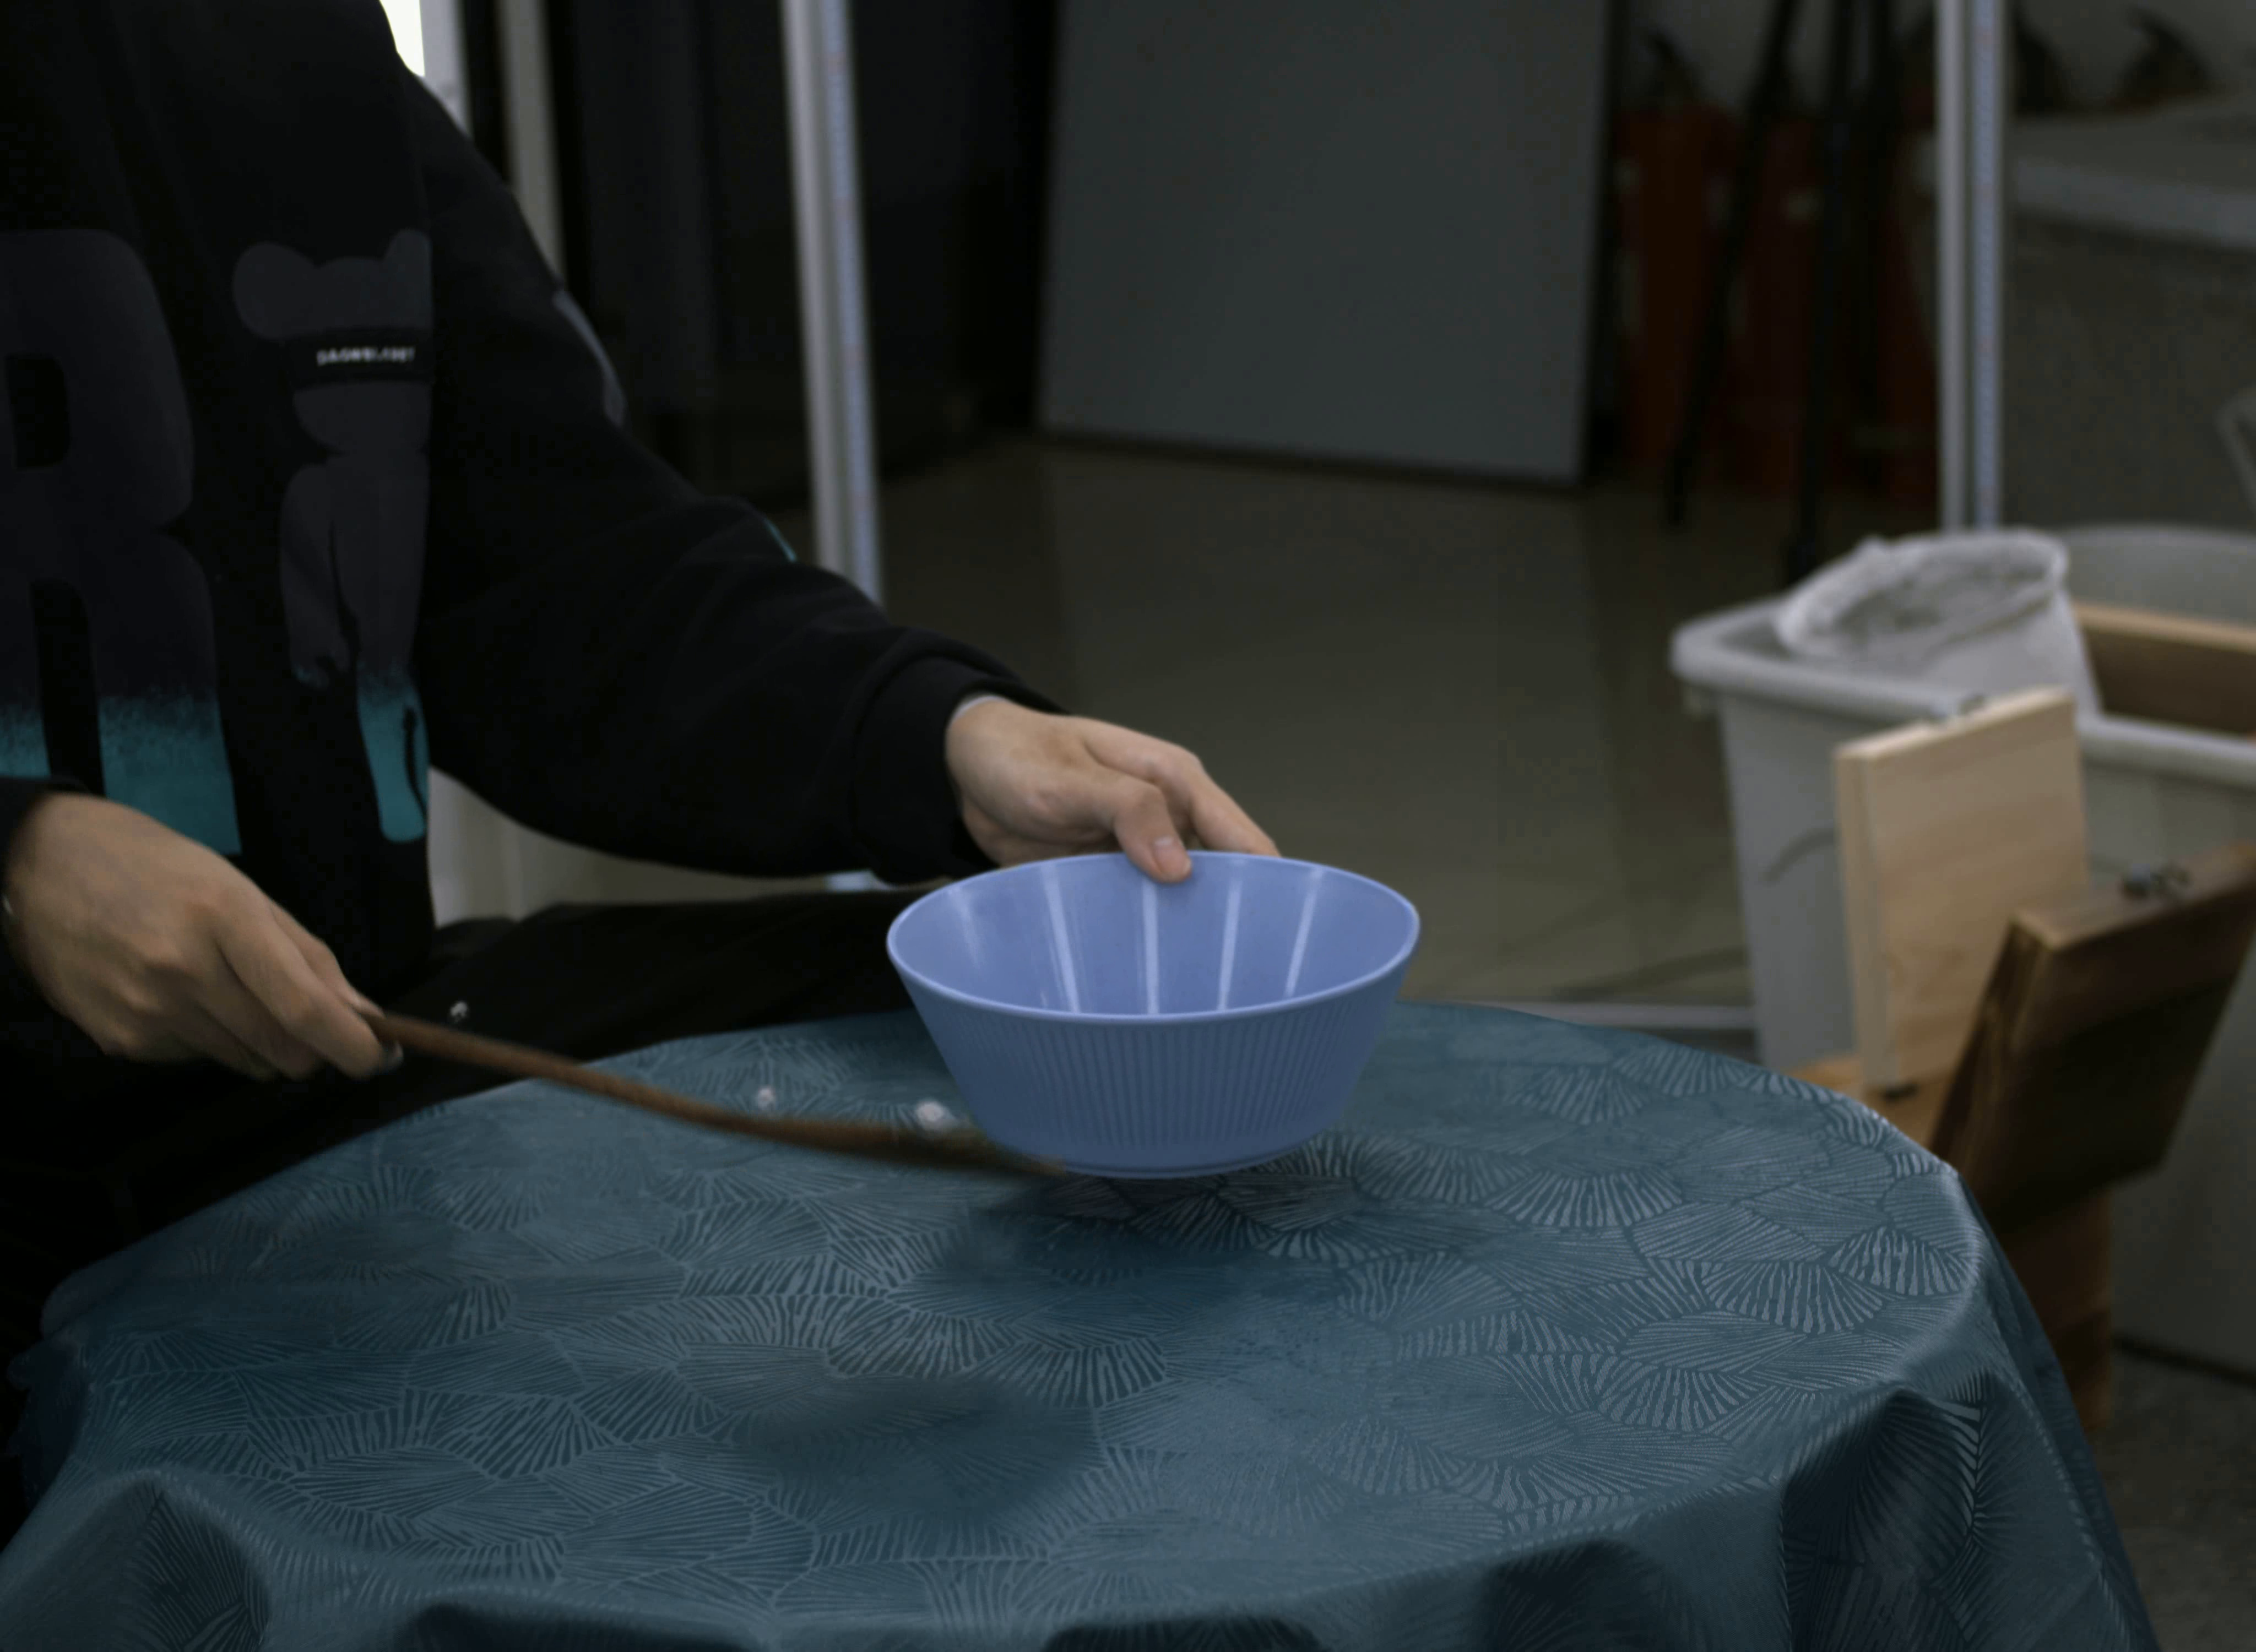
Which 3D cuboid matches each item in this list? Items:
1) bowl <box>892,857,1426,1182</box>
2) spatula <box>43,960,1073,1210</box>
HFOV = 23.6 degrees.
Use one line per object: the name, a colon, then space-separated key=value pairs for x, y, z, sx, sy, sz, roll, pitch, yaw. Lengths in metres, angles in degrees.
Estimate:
bowl: x=0.012 y=0.065 z=1.753 sx=0.174 sy=0.071 sz=0.176 roll=-3 pitch=15 yaw=0
spatula: x=-0.189 y=0.078 z=1.663 sx=0.388 sy=0.016 sz=0.094 roll=11 pitch=-4 yaw=33
